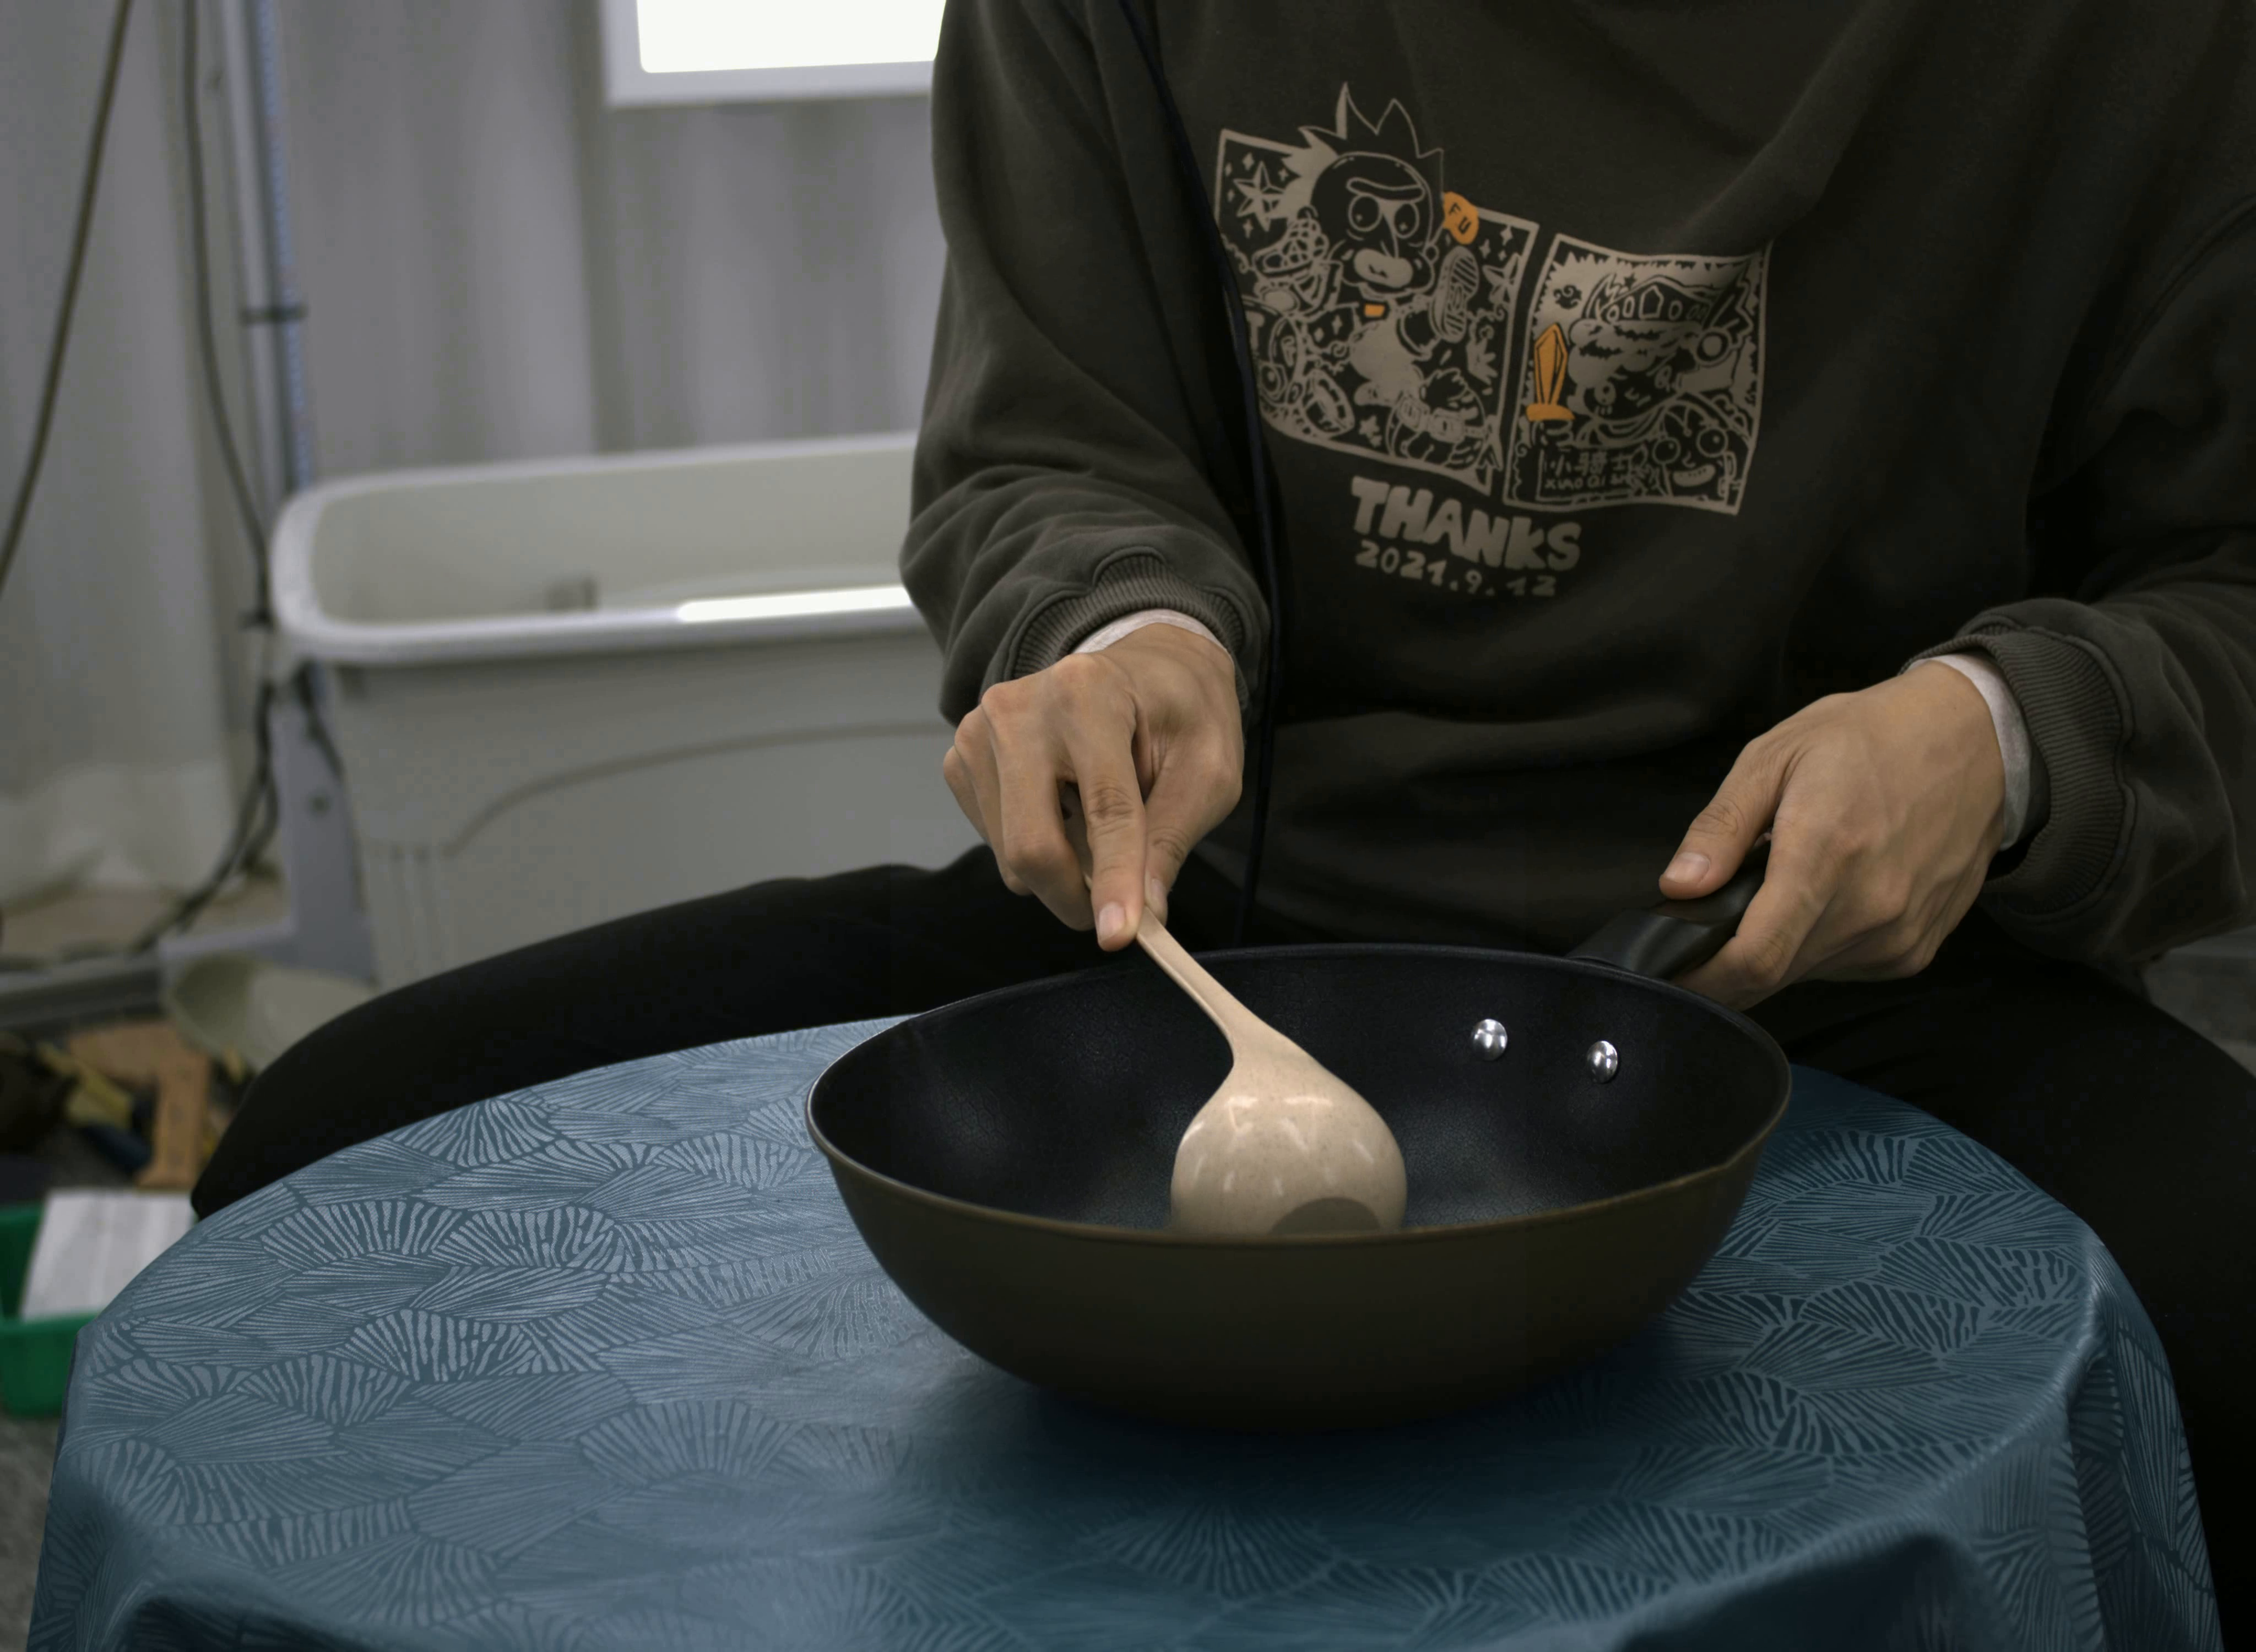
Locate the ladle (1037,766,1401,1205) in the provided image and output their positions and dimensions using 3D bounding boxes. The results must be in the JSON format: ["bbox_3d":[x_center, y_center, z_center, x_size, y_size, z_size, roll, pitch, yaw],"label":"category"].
[{"bbox_3d":[0.012,0.066,1.663,0.072,0.072,0.257,0,24,-20],"label":"ladle"}]

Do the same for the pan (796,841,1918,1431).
[{"bbox_3d":[0.103,0.089,1.639,0.289,0.086,0.463,8,18,37],"label":"pan"}]
